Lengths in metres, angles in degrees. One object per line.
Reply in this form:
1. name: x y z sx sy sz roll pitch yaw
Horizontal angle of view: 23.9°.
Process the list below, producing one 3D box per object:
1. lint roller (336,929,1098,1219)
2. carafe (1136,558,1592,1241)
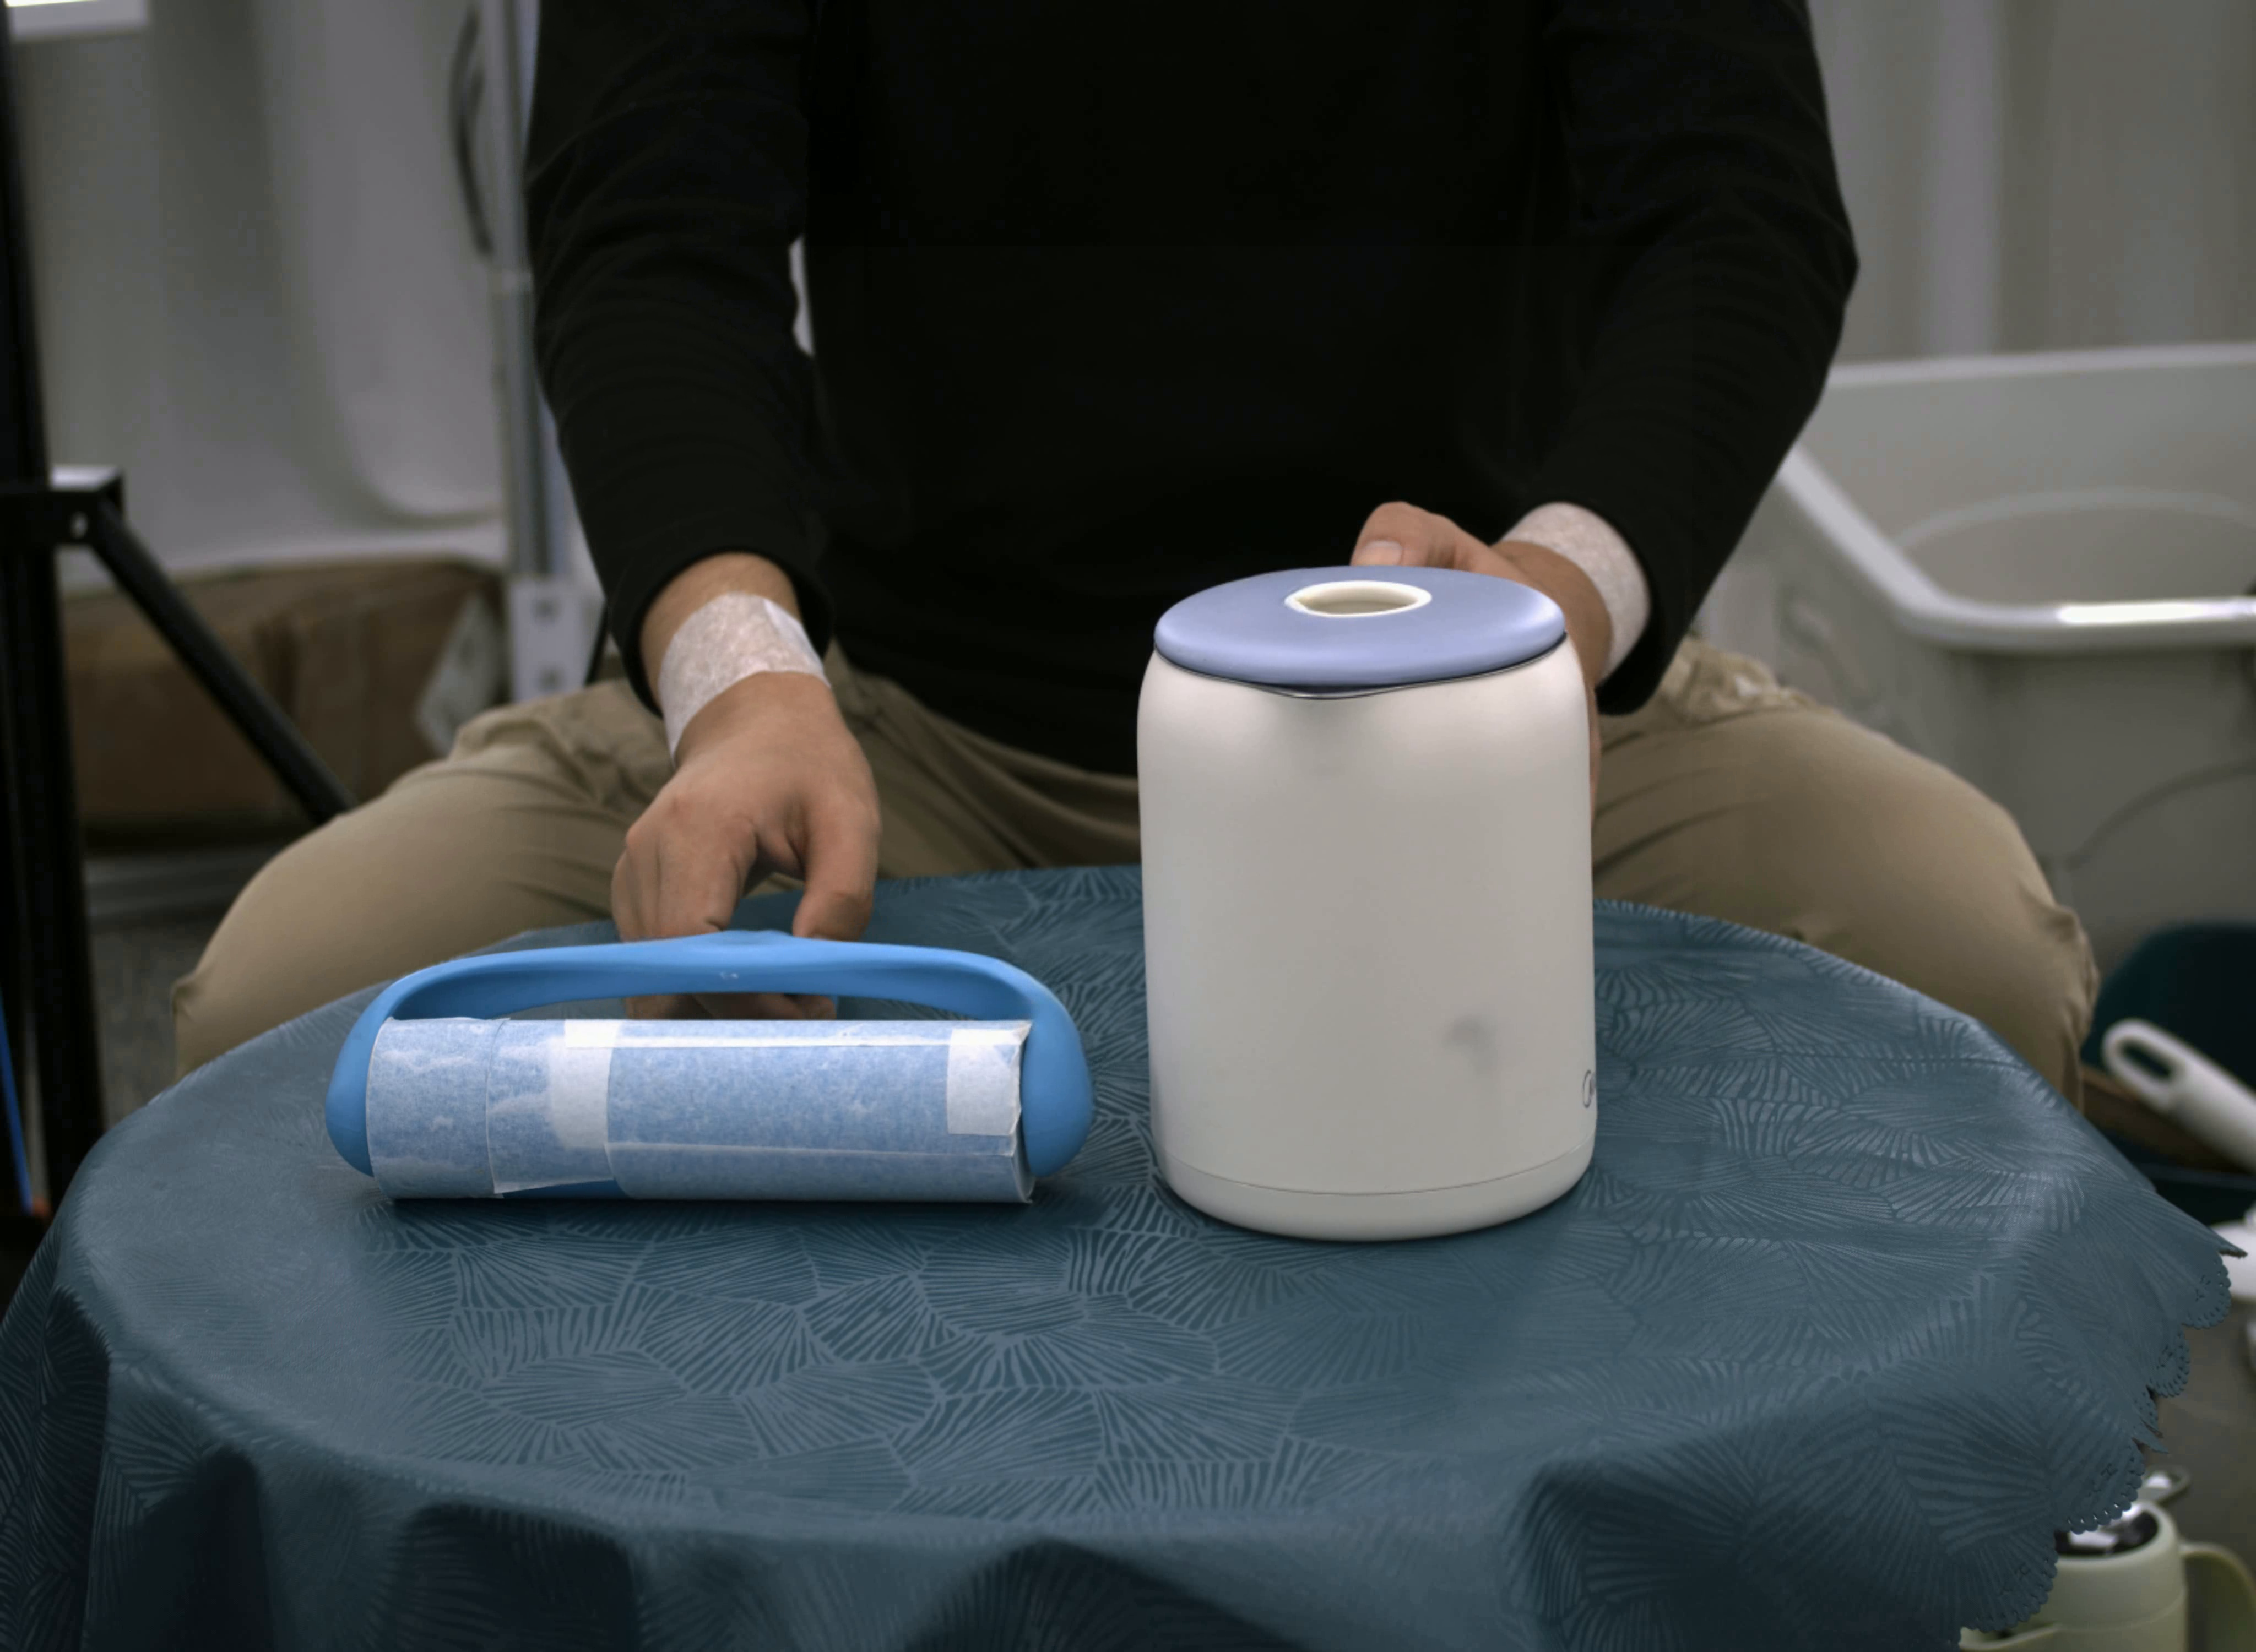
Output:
1. lint roller: -0.117 0.063 1.622 0.229 0.067 0.180 -4 22 8
2. carafe: 0.073 0.014 1.562 0.133 0.182 0.190 1 14 10
